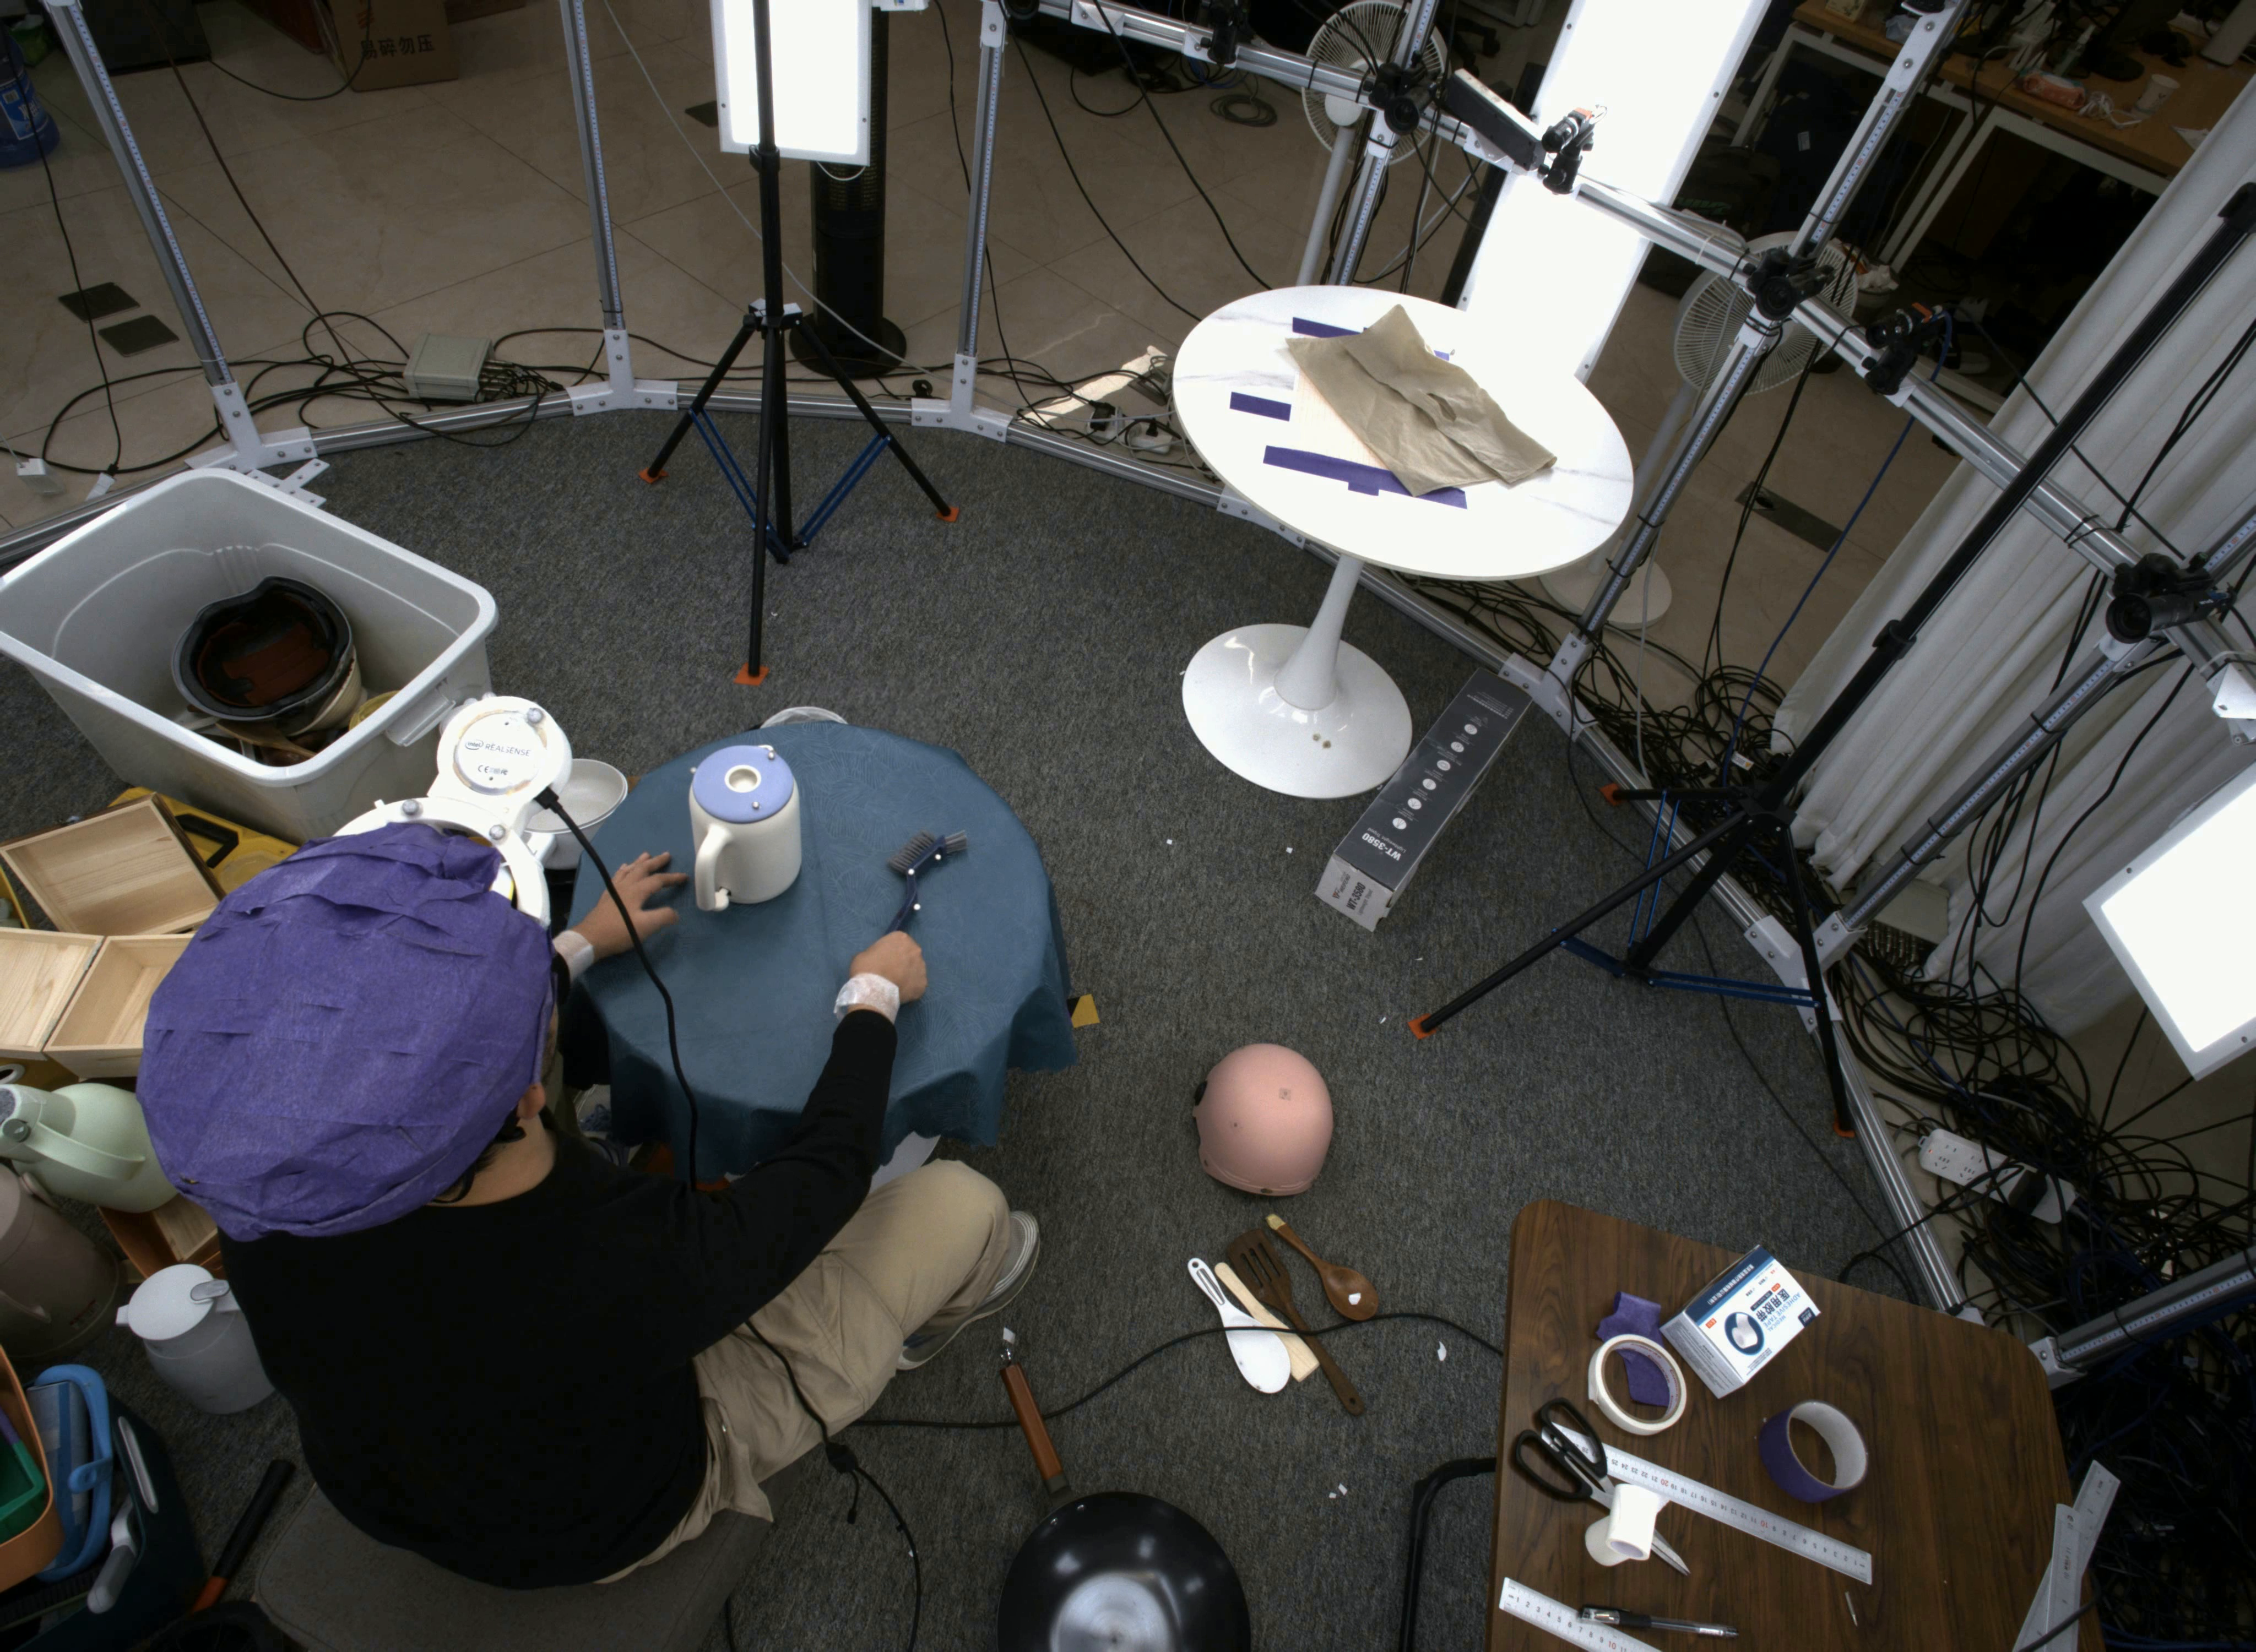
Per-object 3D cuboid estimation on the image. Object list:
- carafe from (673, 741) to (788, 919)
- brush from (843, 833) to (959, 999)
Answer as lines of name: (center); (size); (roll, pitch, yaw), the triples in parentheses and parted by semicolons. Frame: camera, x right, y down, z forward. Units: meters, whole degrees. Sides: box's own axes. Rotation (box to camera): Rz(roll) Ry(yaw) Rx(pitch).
carafe: (-0.494, 0.017, 1.577); (0.131, 0.186, 0.189); (16, 52, 1)
brush: (-0.291, 0.107, 1.650); (0.095, 0.034, 0.269); (14, 49, -3)
